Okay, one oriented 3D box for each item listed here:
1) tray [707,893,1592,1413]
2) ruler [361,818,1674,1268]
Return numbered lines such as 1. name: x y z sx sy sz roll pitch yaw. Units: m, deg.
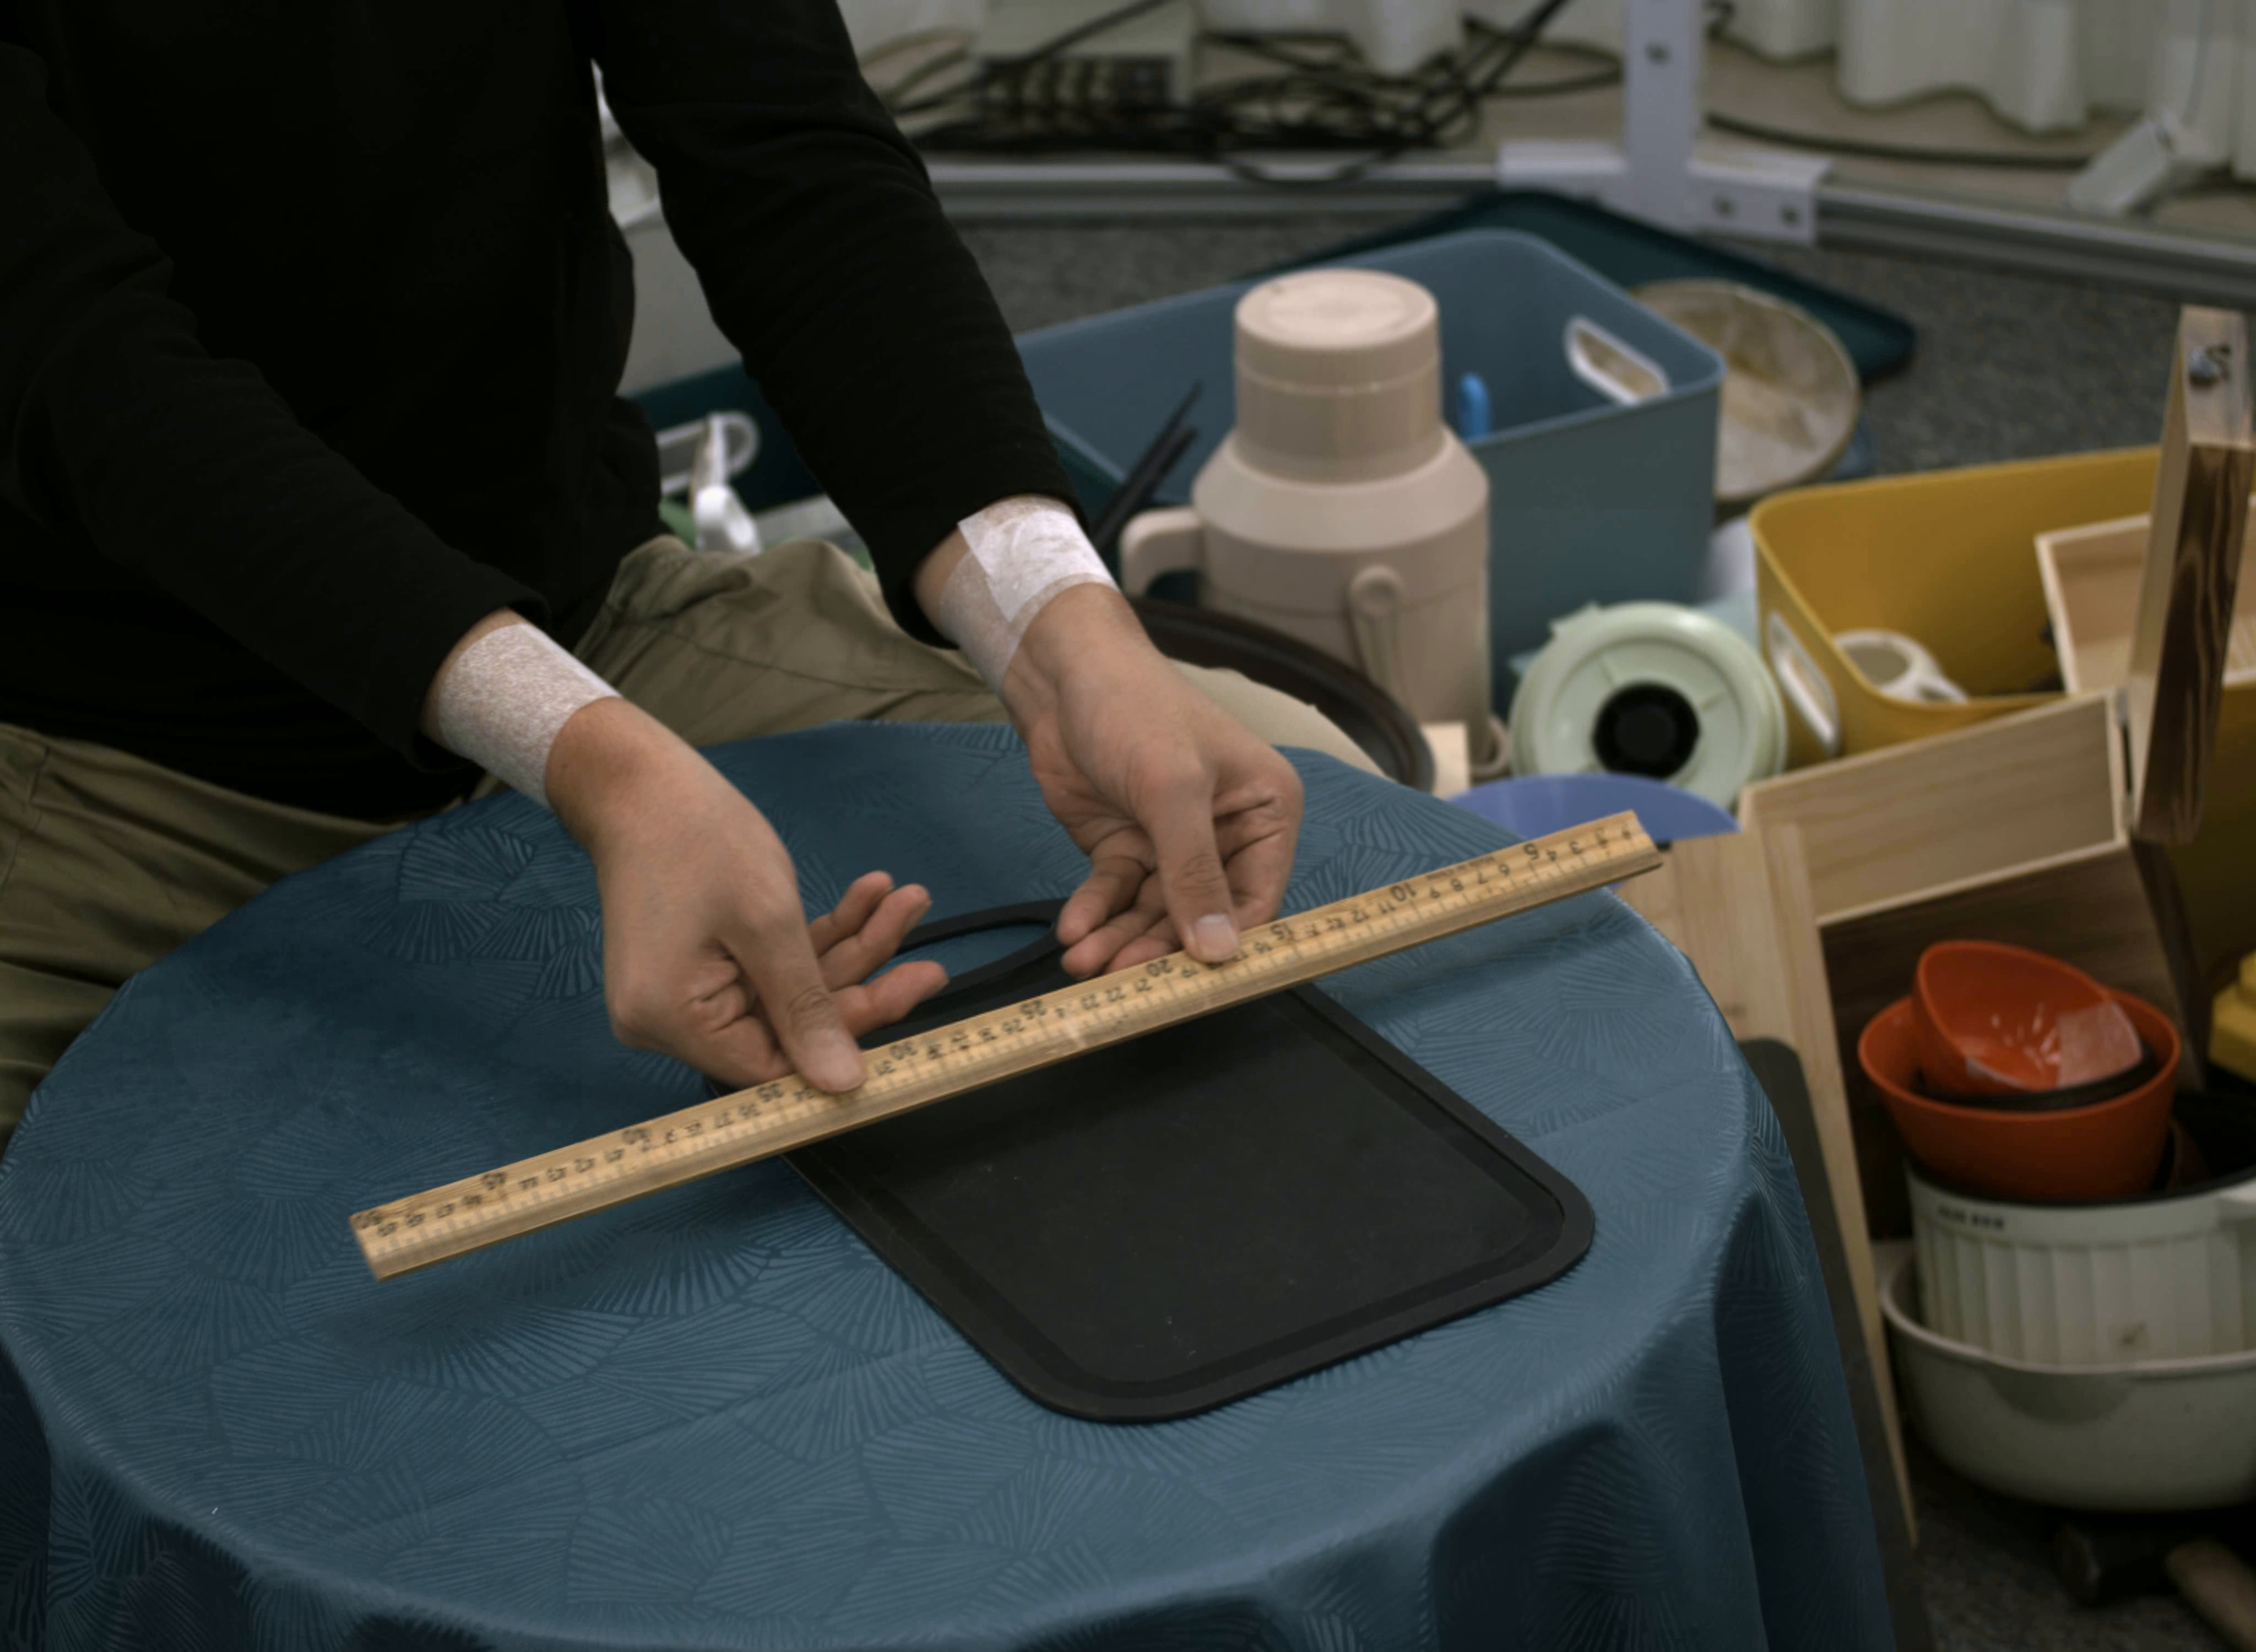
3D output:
1. tray: -0.003 0.100 1.894 0.212 0.009 0.327 -17 30 -25
2. ruler: -0.026 0.068 1.901 0.503 0.006 0.027 -16 60 -27
